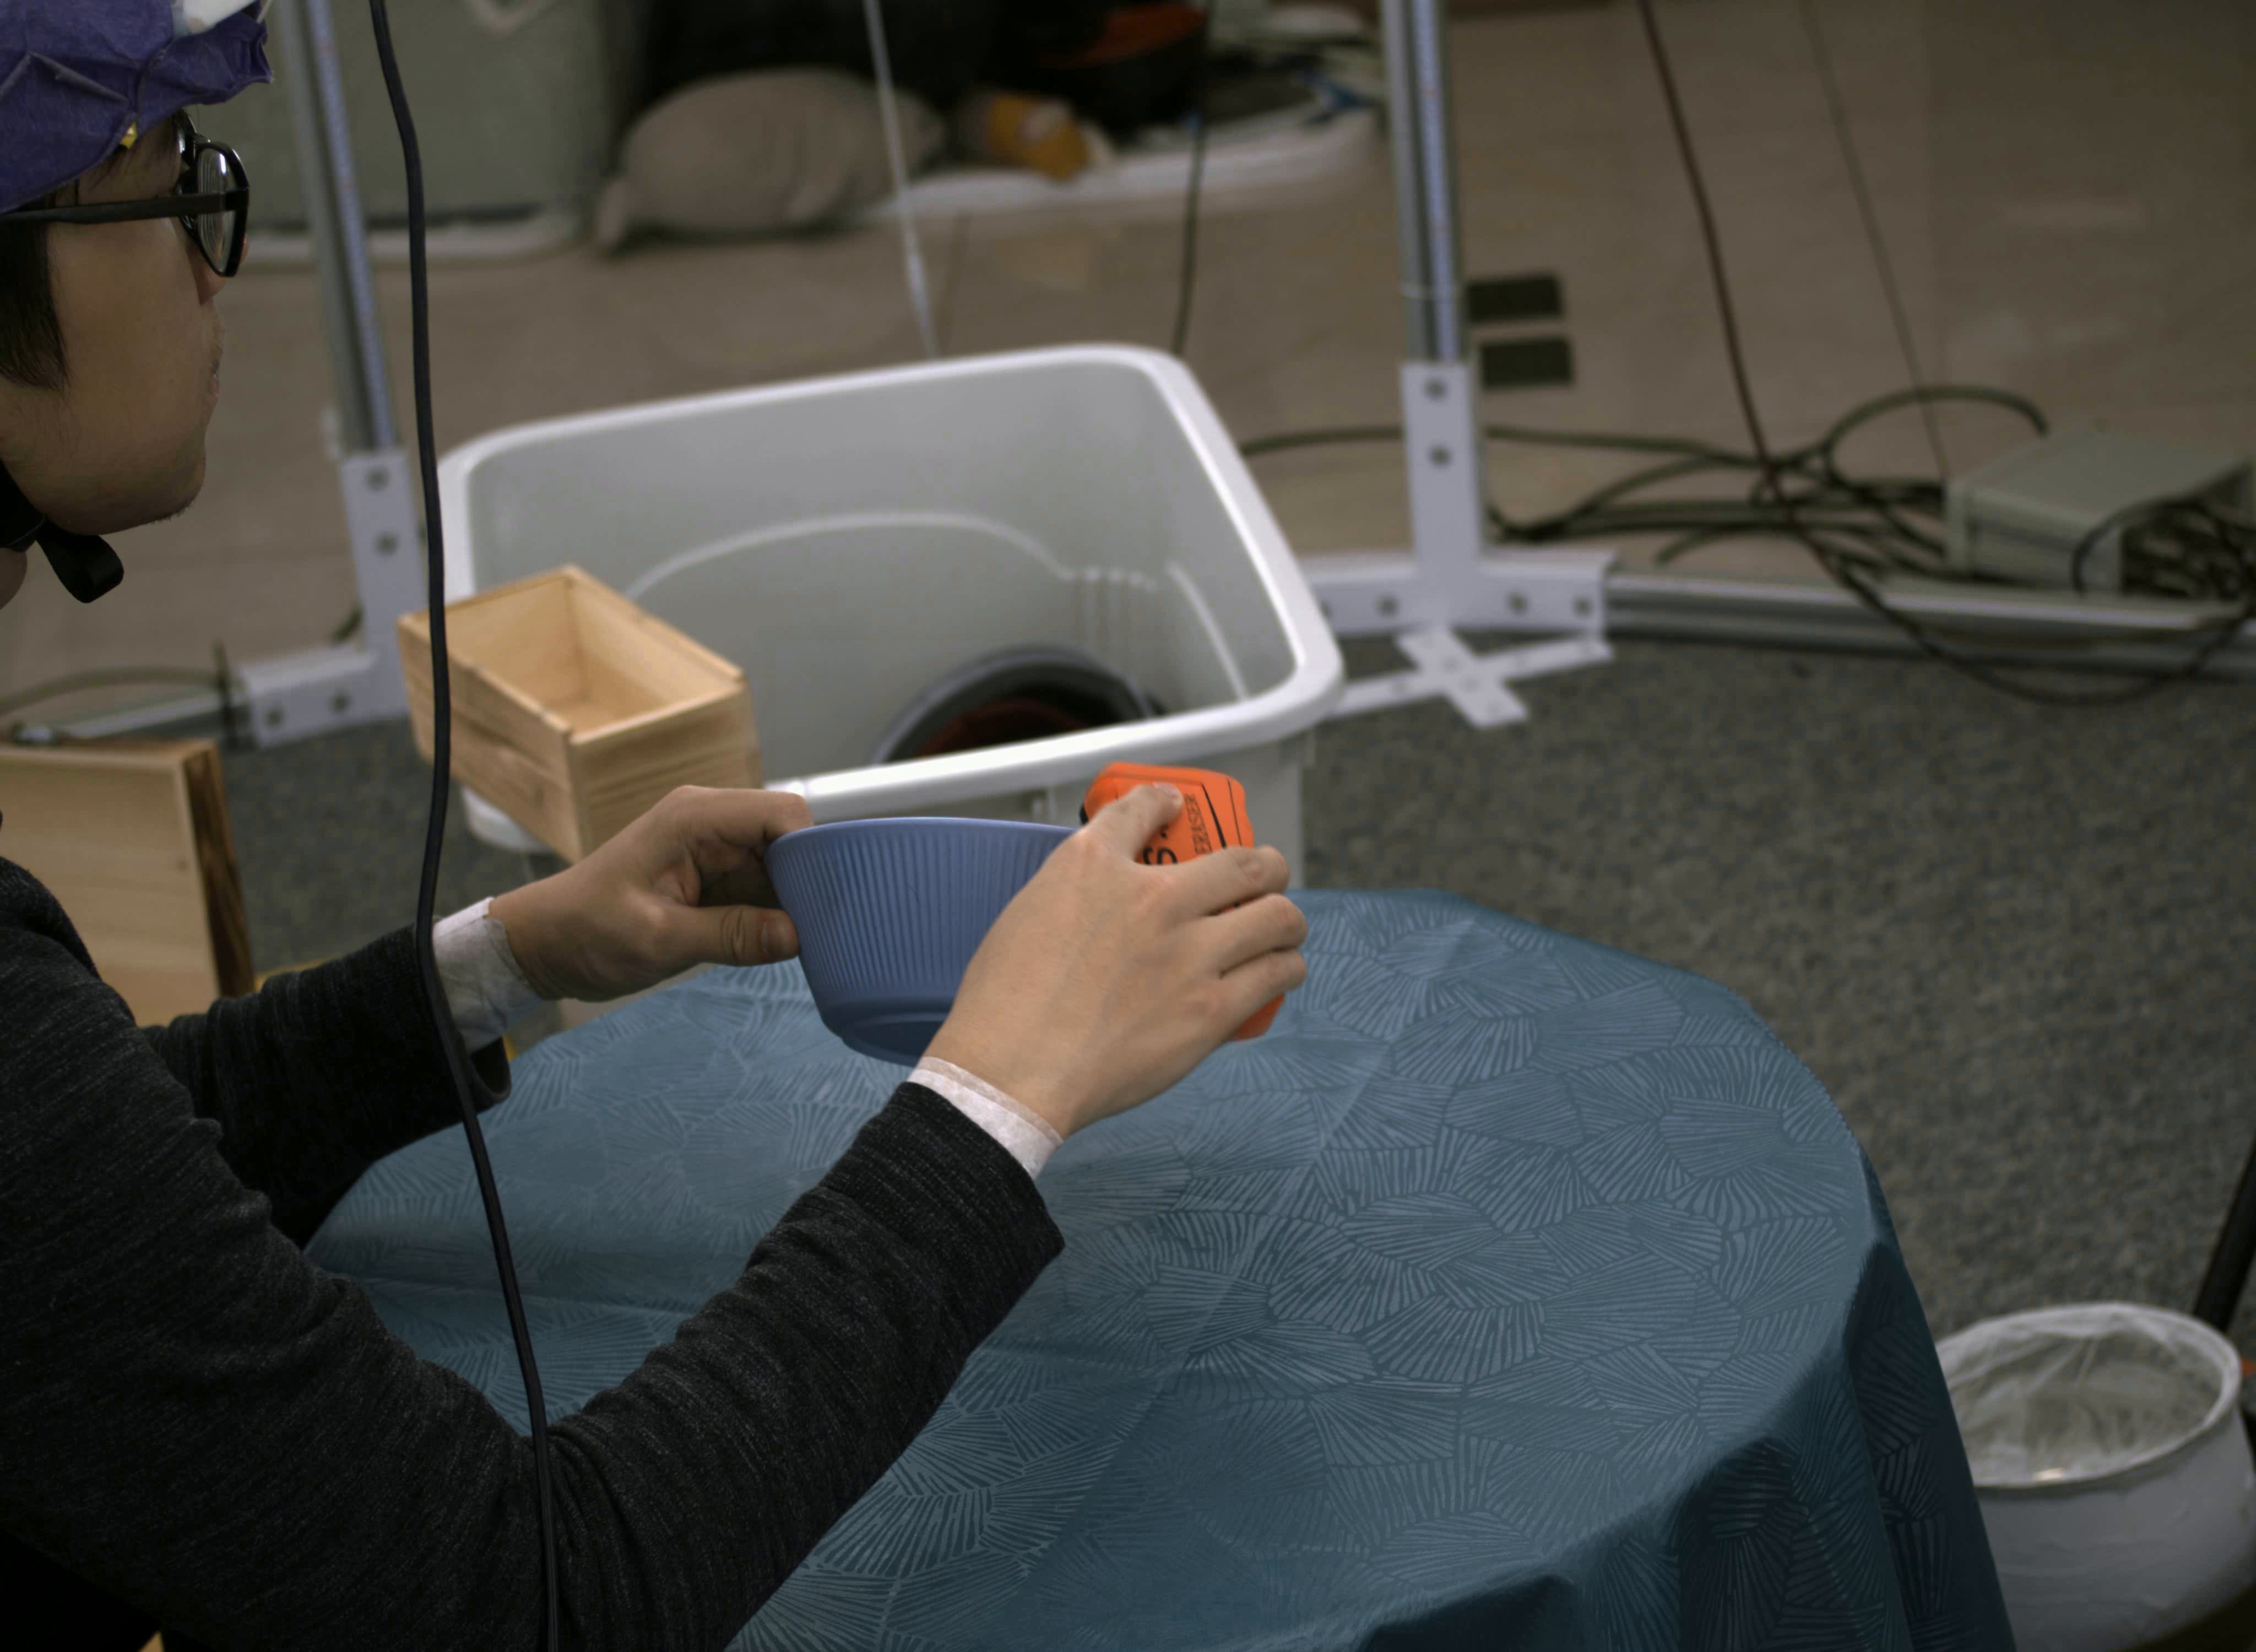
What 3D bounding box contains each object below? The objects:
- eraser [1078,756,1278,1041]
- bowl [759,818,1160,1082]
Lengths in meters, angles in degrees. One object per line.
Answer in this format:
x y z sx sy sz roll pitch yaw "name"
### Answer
0.017 0.025 1.990 0.059 0.023 0.106 6 52 -20 "eraser"
-0.051 0.050 2.085 0.176 0.070 0.177 4 -13 1 "bowl"
